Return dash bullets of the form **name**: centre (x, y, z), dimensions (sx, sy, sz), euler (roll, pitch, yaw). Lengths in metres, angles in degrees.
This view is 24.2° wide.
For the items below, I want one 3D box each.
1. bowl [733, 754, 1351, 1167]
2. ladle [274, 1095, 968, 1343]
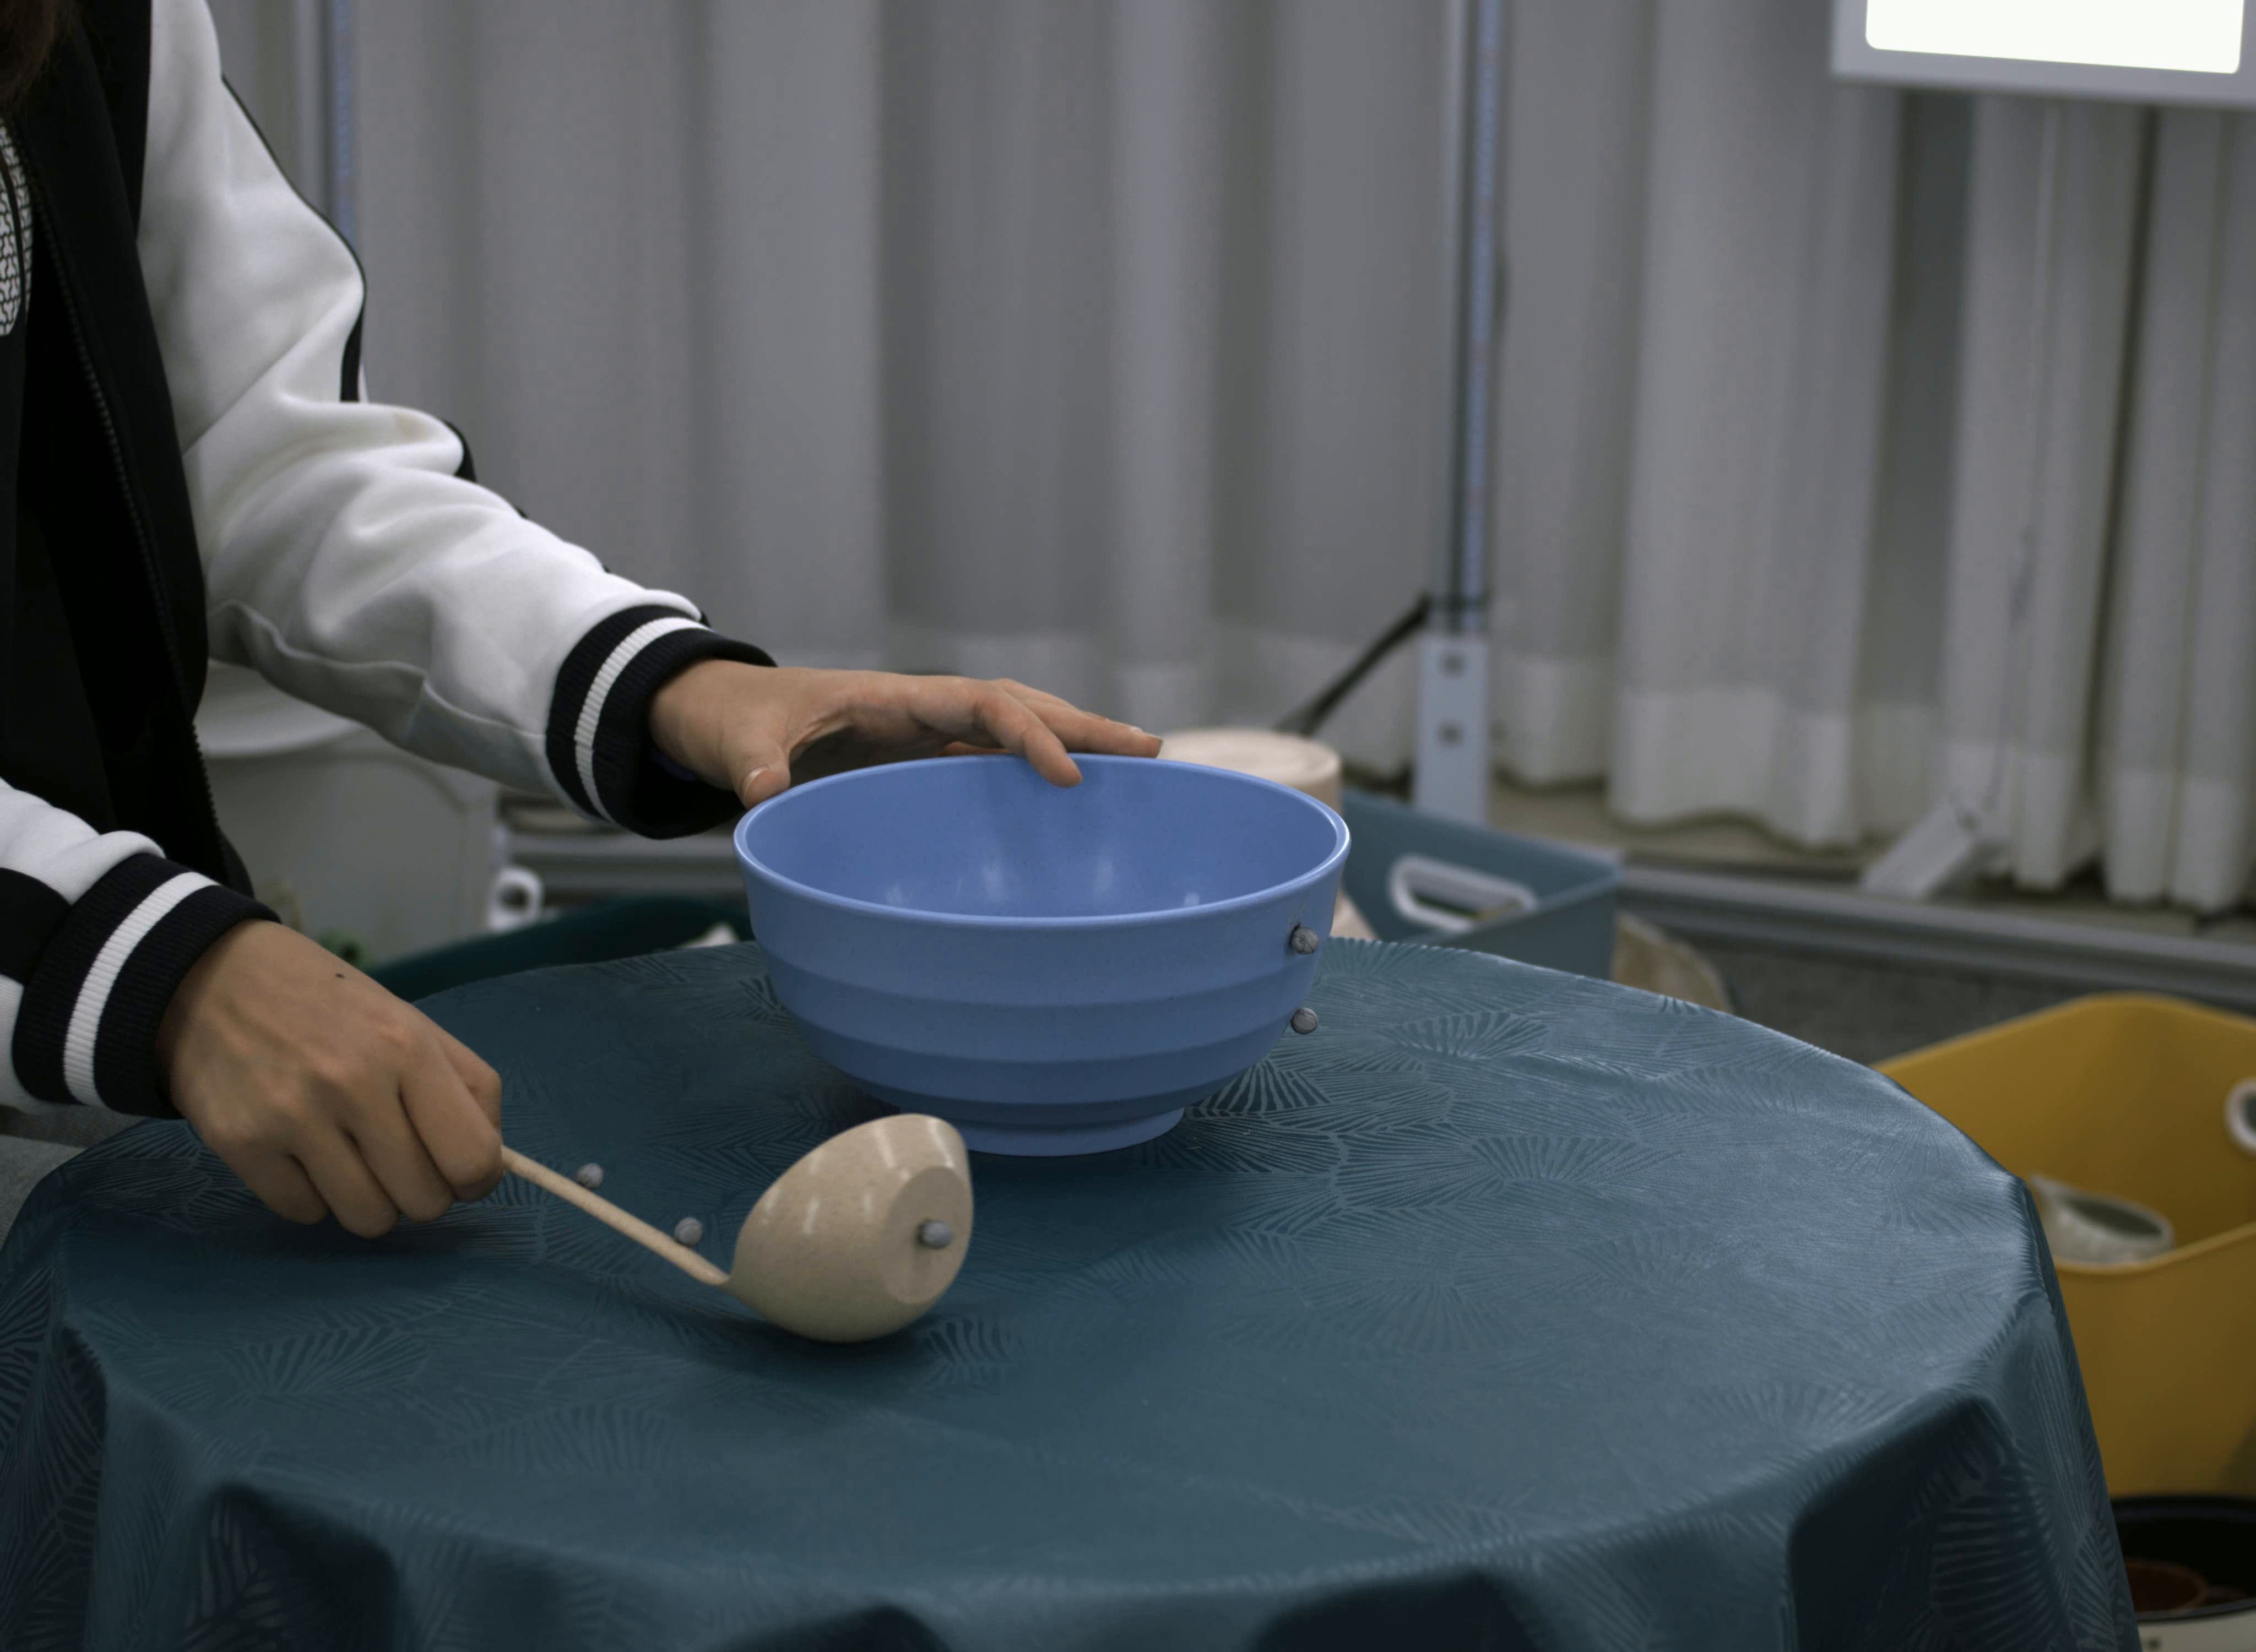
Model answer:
- **bowl**: centre (-0.027, 0.049, 1.682), dimensions (0.196, 0.096, 0.195), euler (0, 17, 1)
- **ladle**: centre (-0.152, 0.086, 1.545), dimensions (0.251, 0.073, 0.073), euler (19, -5, 37)
